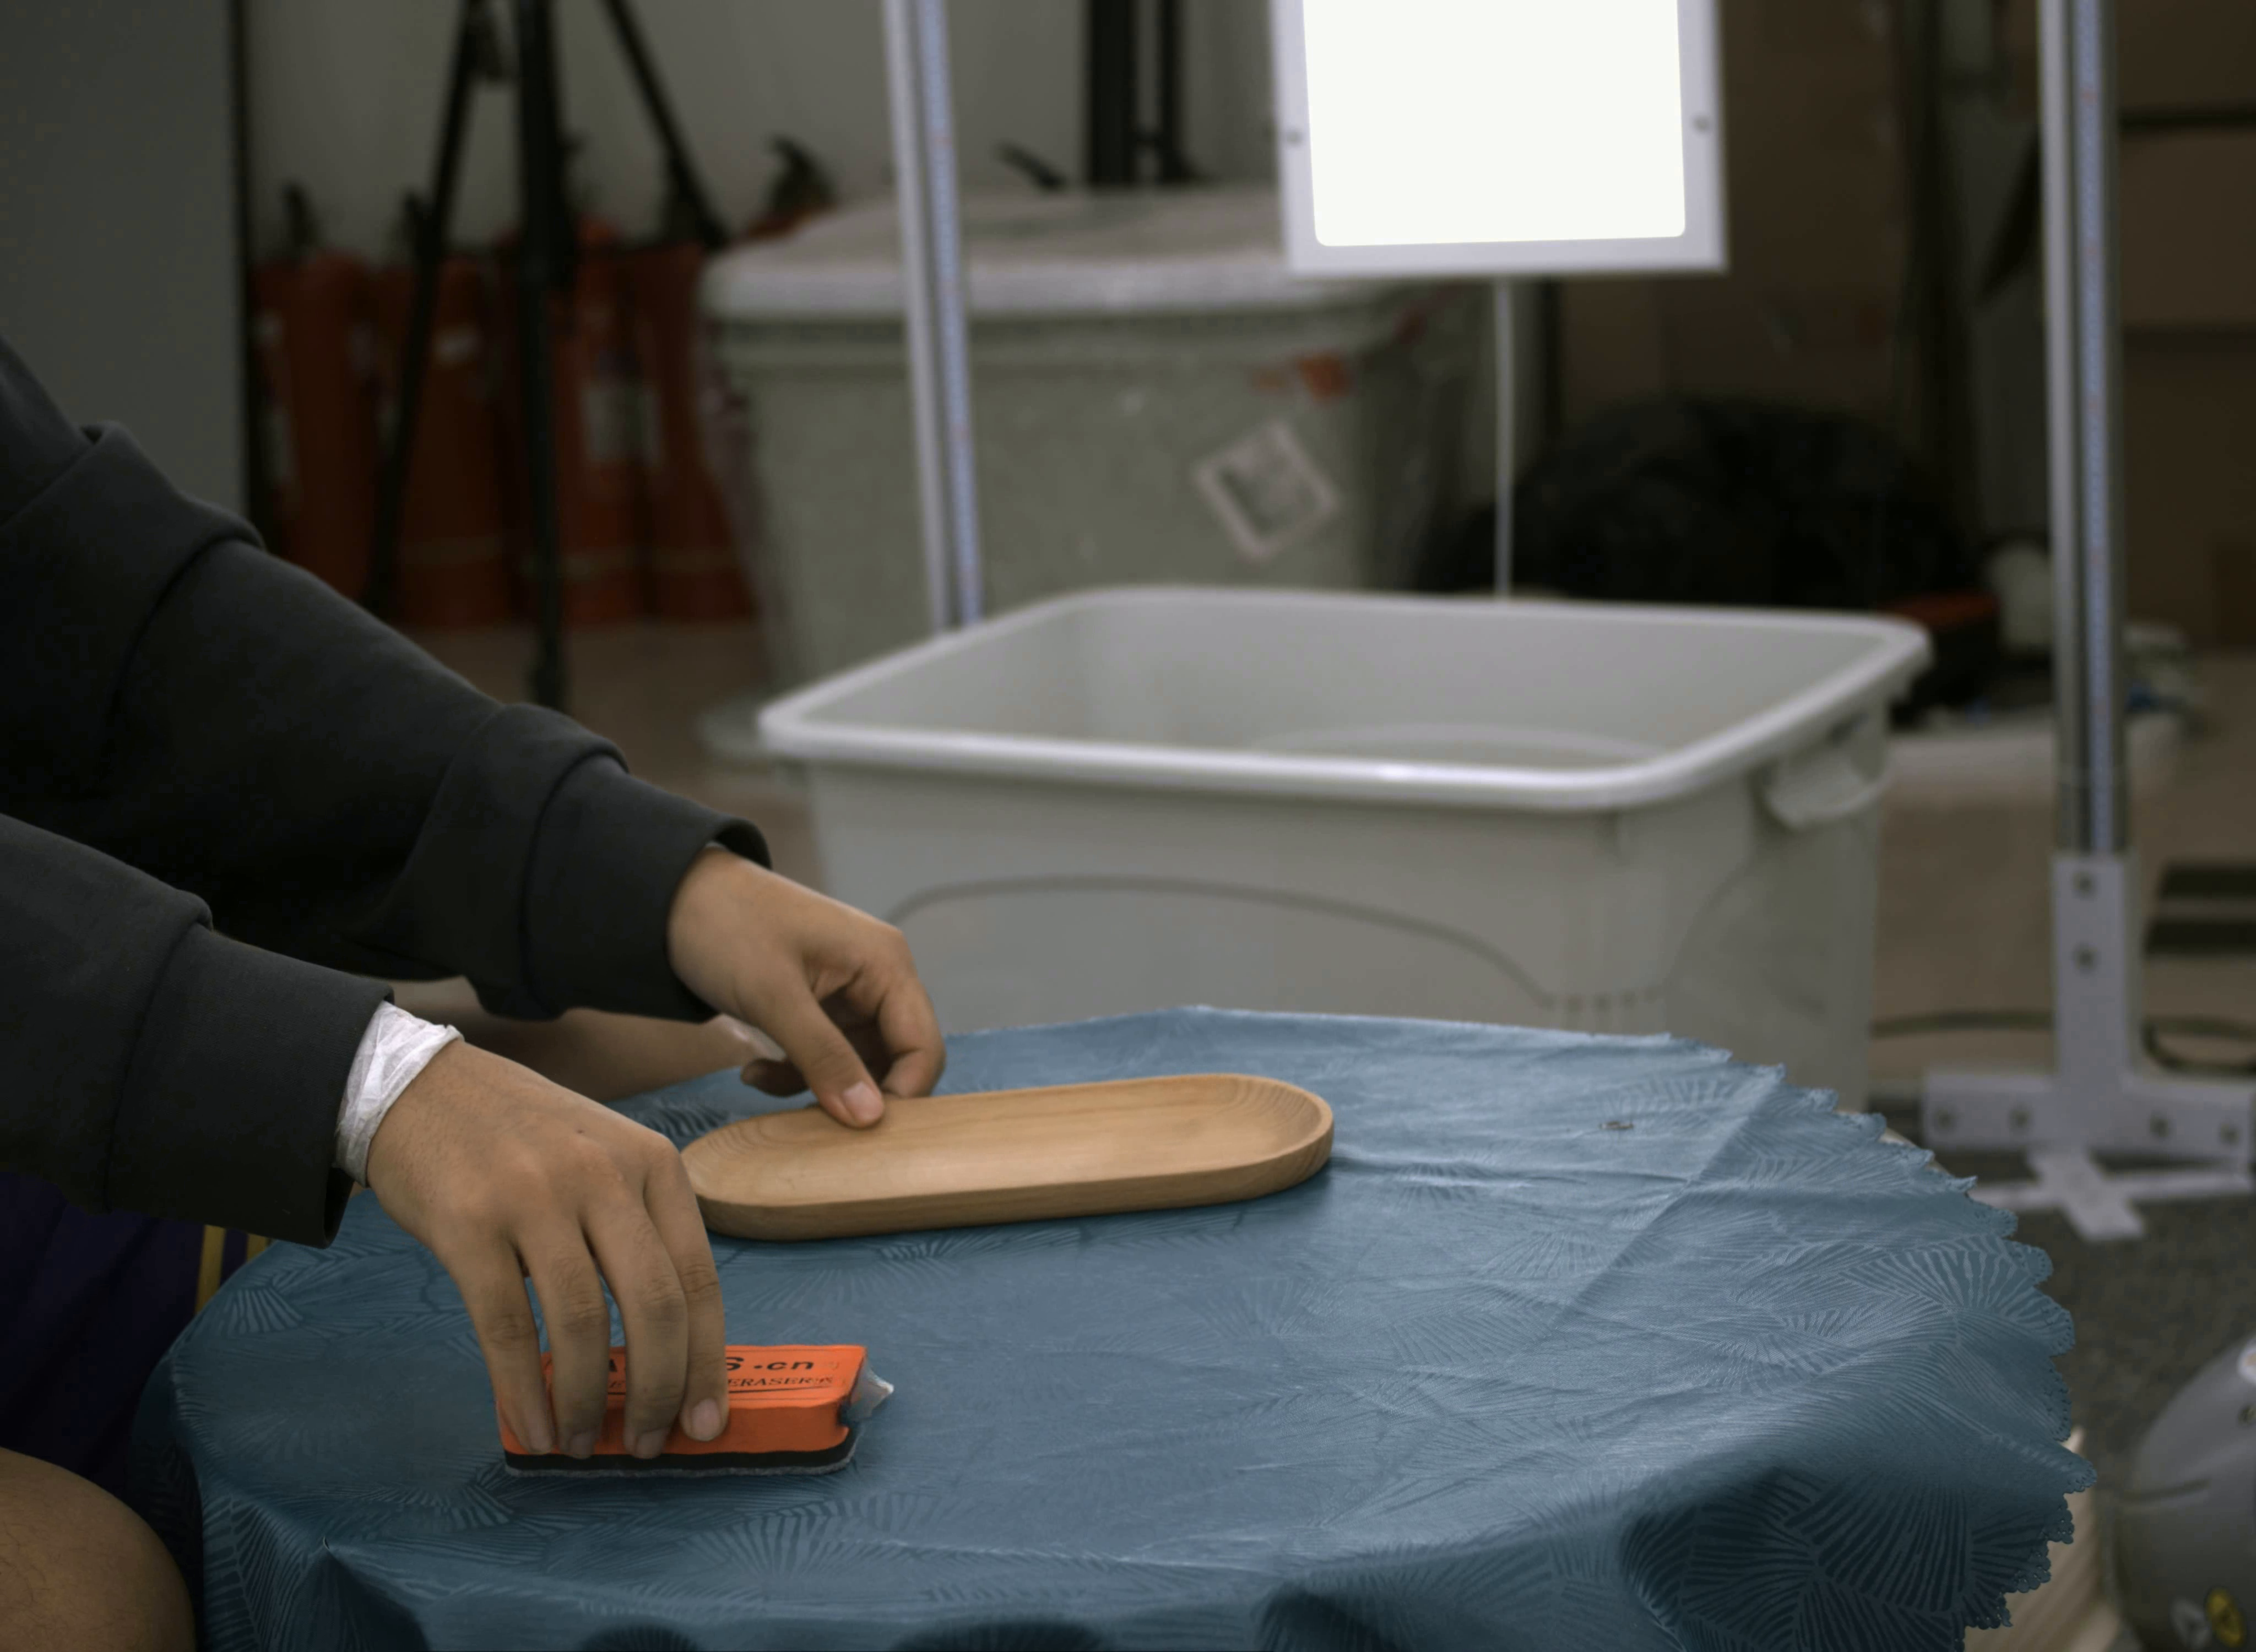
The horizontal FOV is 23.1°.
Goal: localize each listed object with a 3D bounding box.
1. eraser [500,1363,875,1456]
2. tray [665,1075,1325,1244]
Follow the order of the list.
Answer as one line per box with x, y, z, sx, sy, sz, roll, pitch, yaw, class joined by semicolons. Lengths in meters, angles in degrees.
-0.134;0.178;1.685;0.109;0.023;0.058;-2;-11;14;eraser
-0.046;0.116;1.916;0.230;0.020;0.101;-6;15;-1;tray
